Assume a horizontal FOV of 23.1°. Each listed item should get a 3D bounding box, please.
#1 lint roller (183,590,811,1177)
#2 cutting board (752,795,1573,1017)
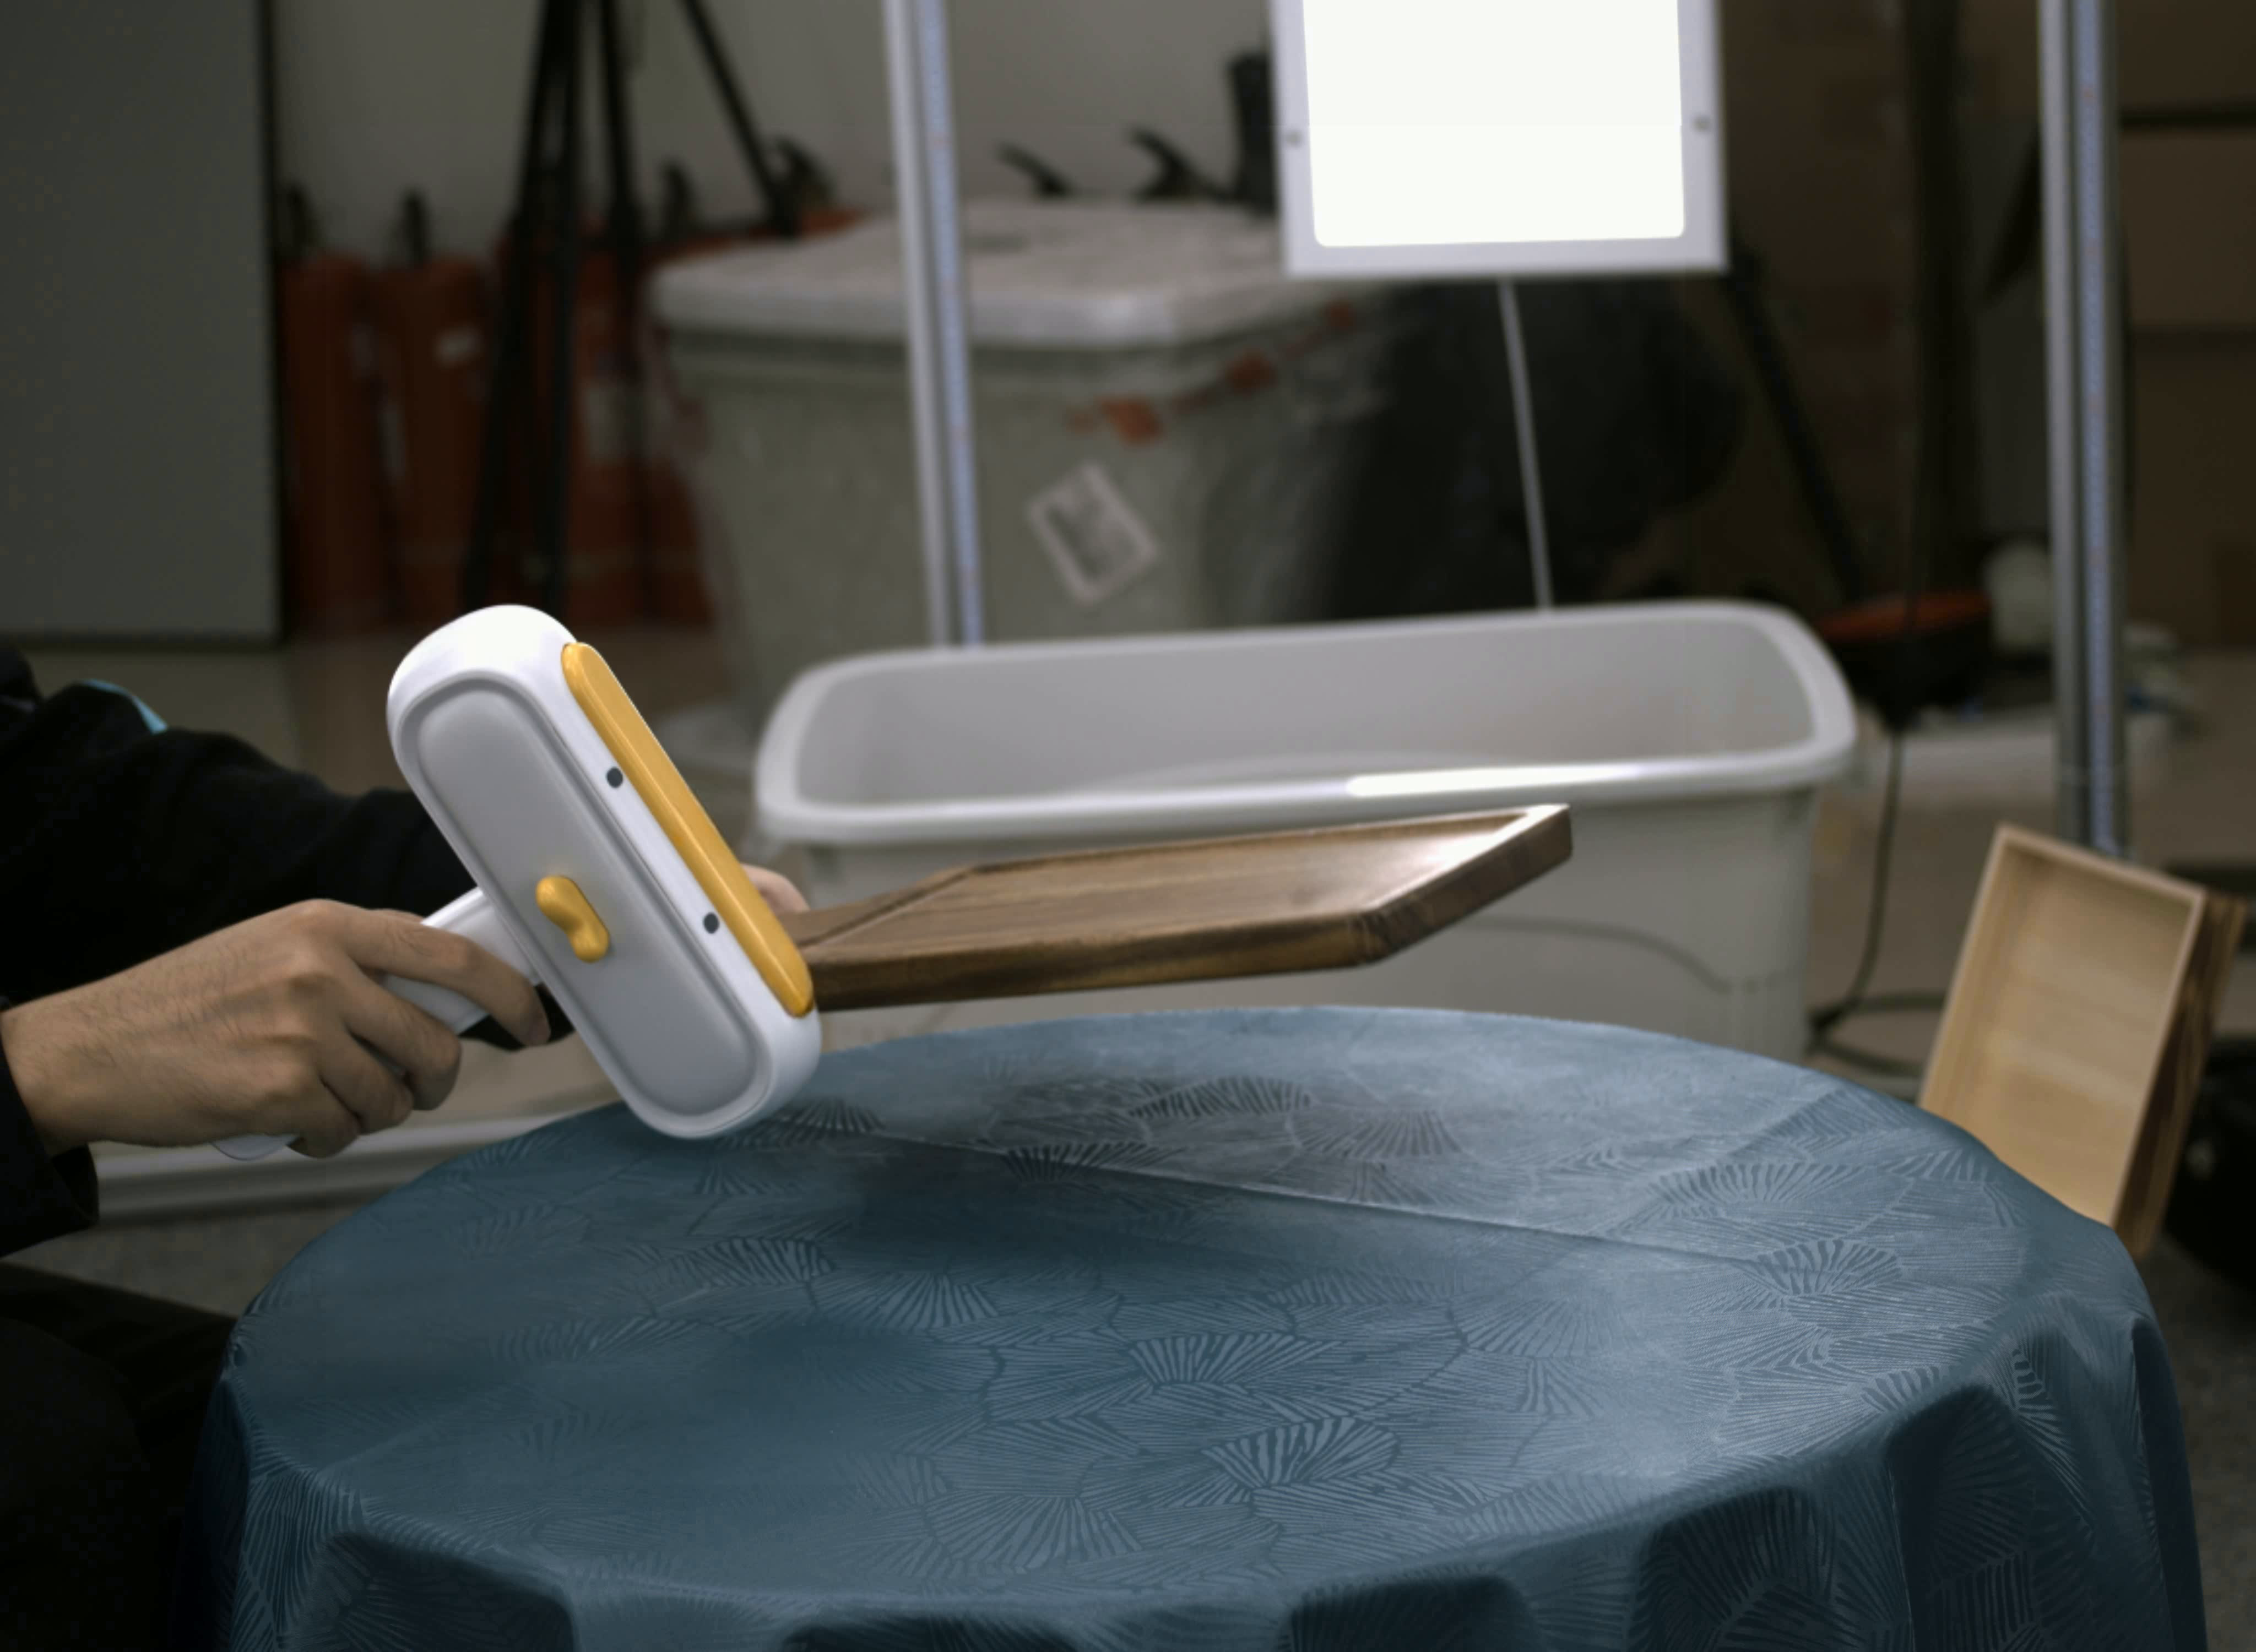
[{"bbox_3d":[-0.223,0.046,1.796,0.194,0.192,0.074,-33,15,14],"label":"lint roller"},{"bbox_3d":[-0.035,0.033,1.943,0.358,0.023,0.197,-7,8,27],"label":"cutting board"}]
